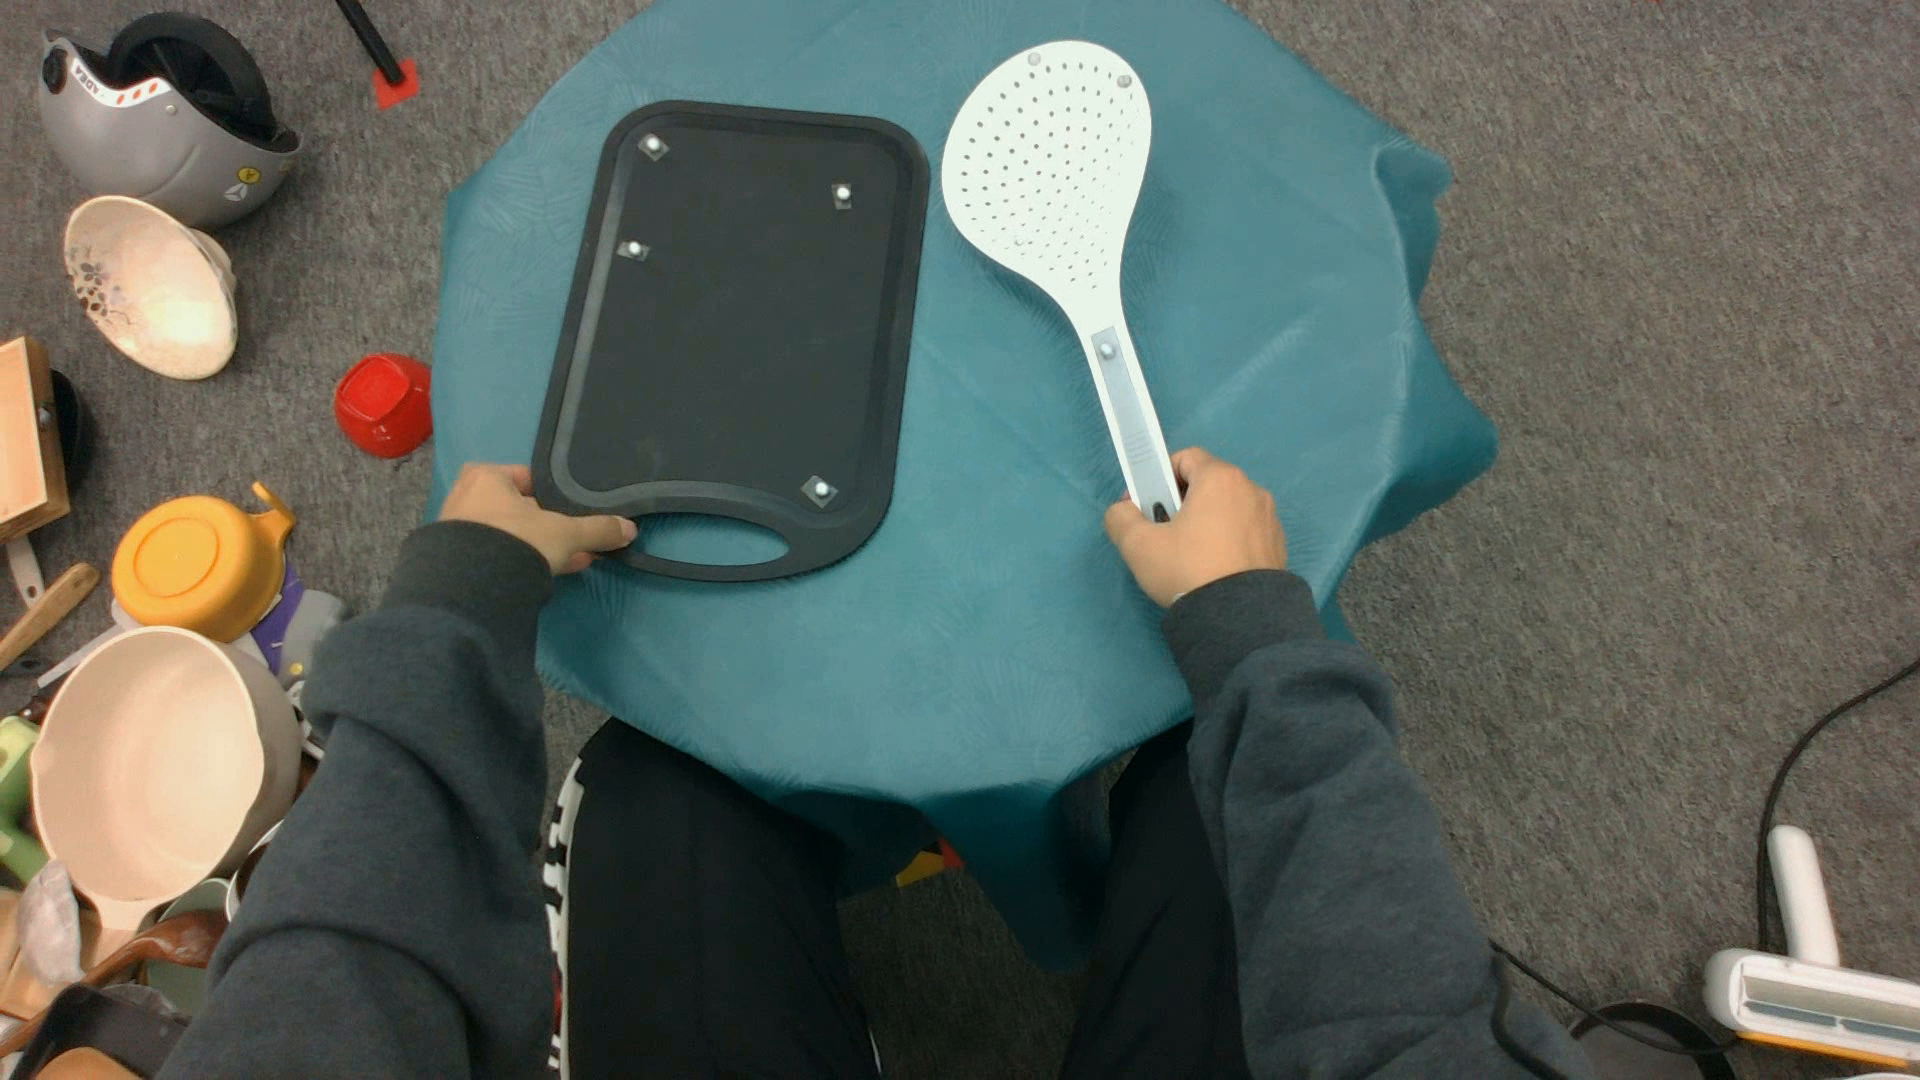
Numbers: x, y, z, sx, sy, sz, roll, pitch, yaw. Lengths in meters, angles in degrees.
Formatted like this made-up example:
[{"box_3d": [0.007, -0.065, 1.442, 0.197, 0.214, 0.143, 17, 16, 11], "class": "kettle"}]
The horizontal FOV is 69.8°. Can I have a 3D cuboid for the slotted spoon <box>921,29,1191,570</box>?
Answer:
[{"box_3d": [0.069, -0.145, 0.794, 0.135, 0.046, 0.351, -23, 64, 19], "class": "slotted spoon"}]

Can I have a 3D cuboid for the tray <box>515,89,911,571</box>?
[{"box_3d": [-0.145, -0.135, 0.830, 0.211, 0.010, 0.326, 5, 69, 1], "class": "tray"}]
